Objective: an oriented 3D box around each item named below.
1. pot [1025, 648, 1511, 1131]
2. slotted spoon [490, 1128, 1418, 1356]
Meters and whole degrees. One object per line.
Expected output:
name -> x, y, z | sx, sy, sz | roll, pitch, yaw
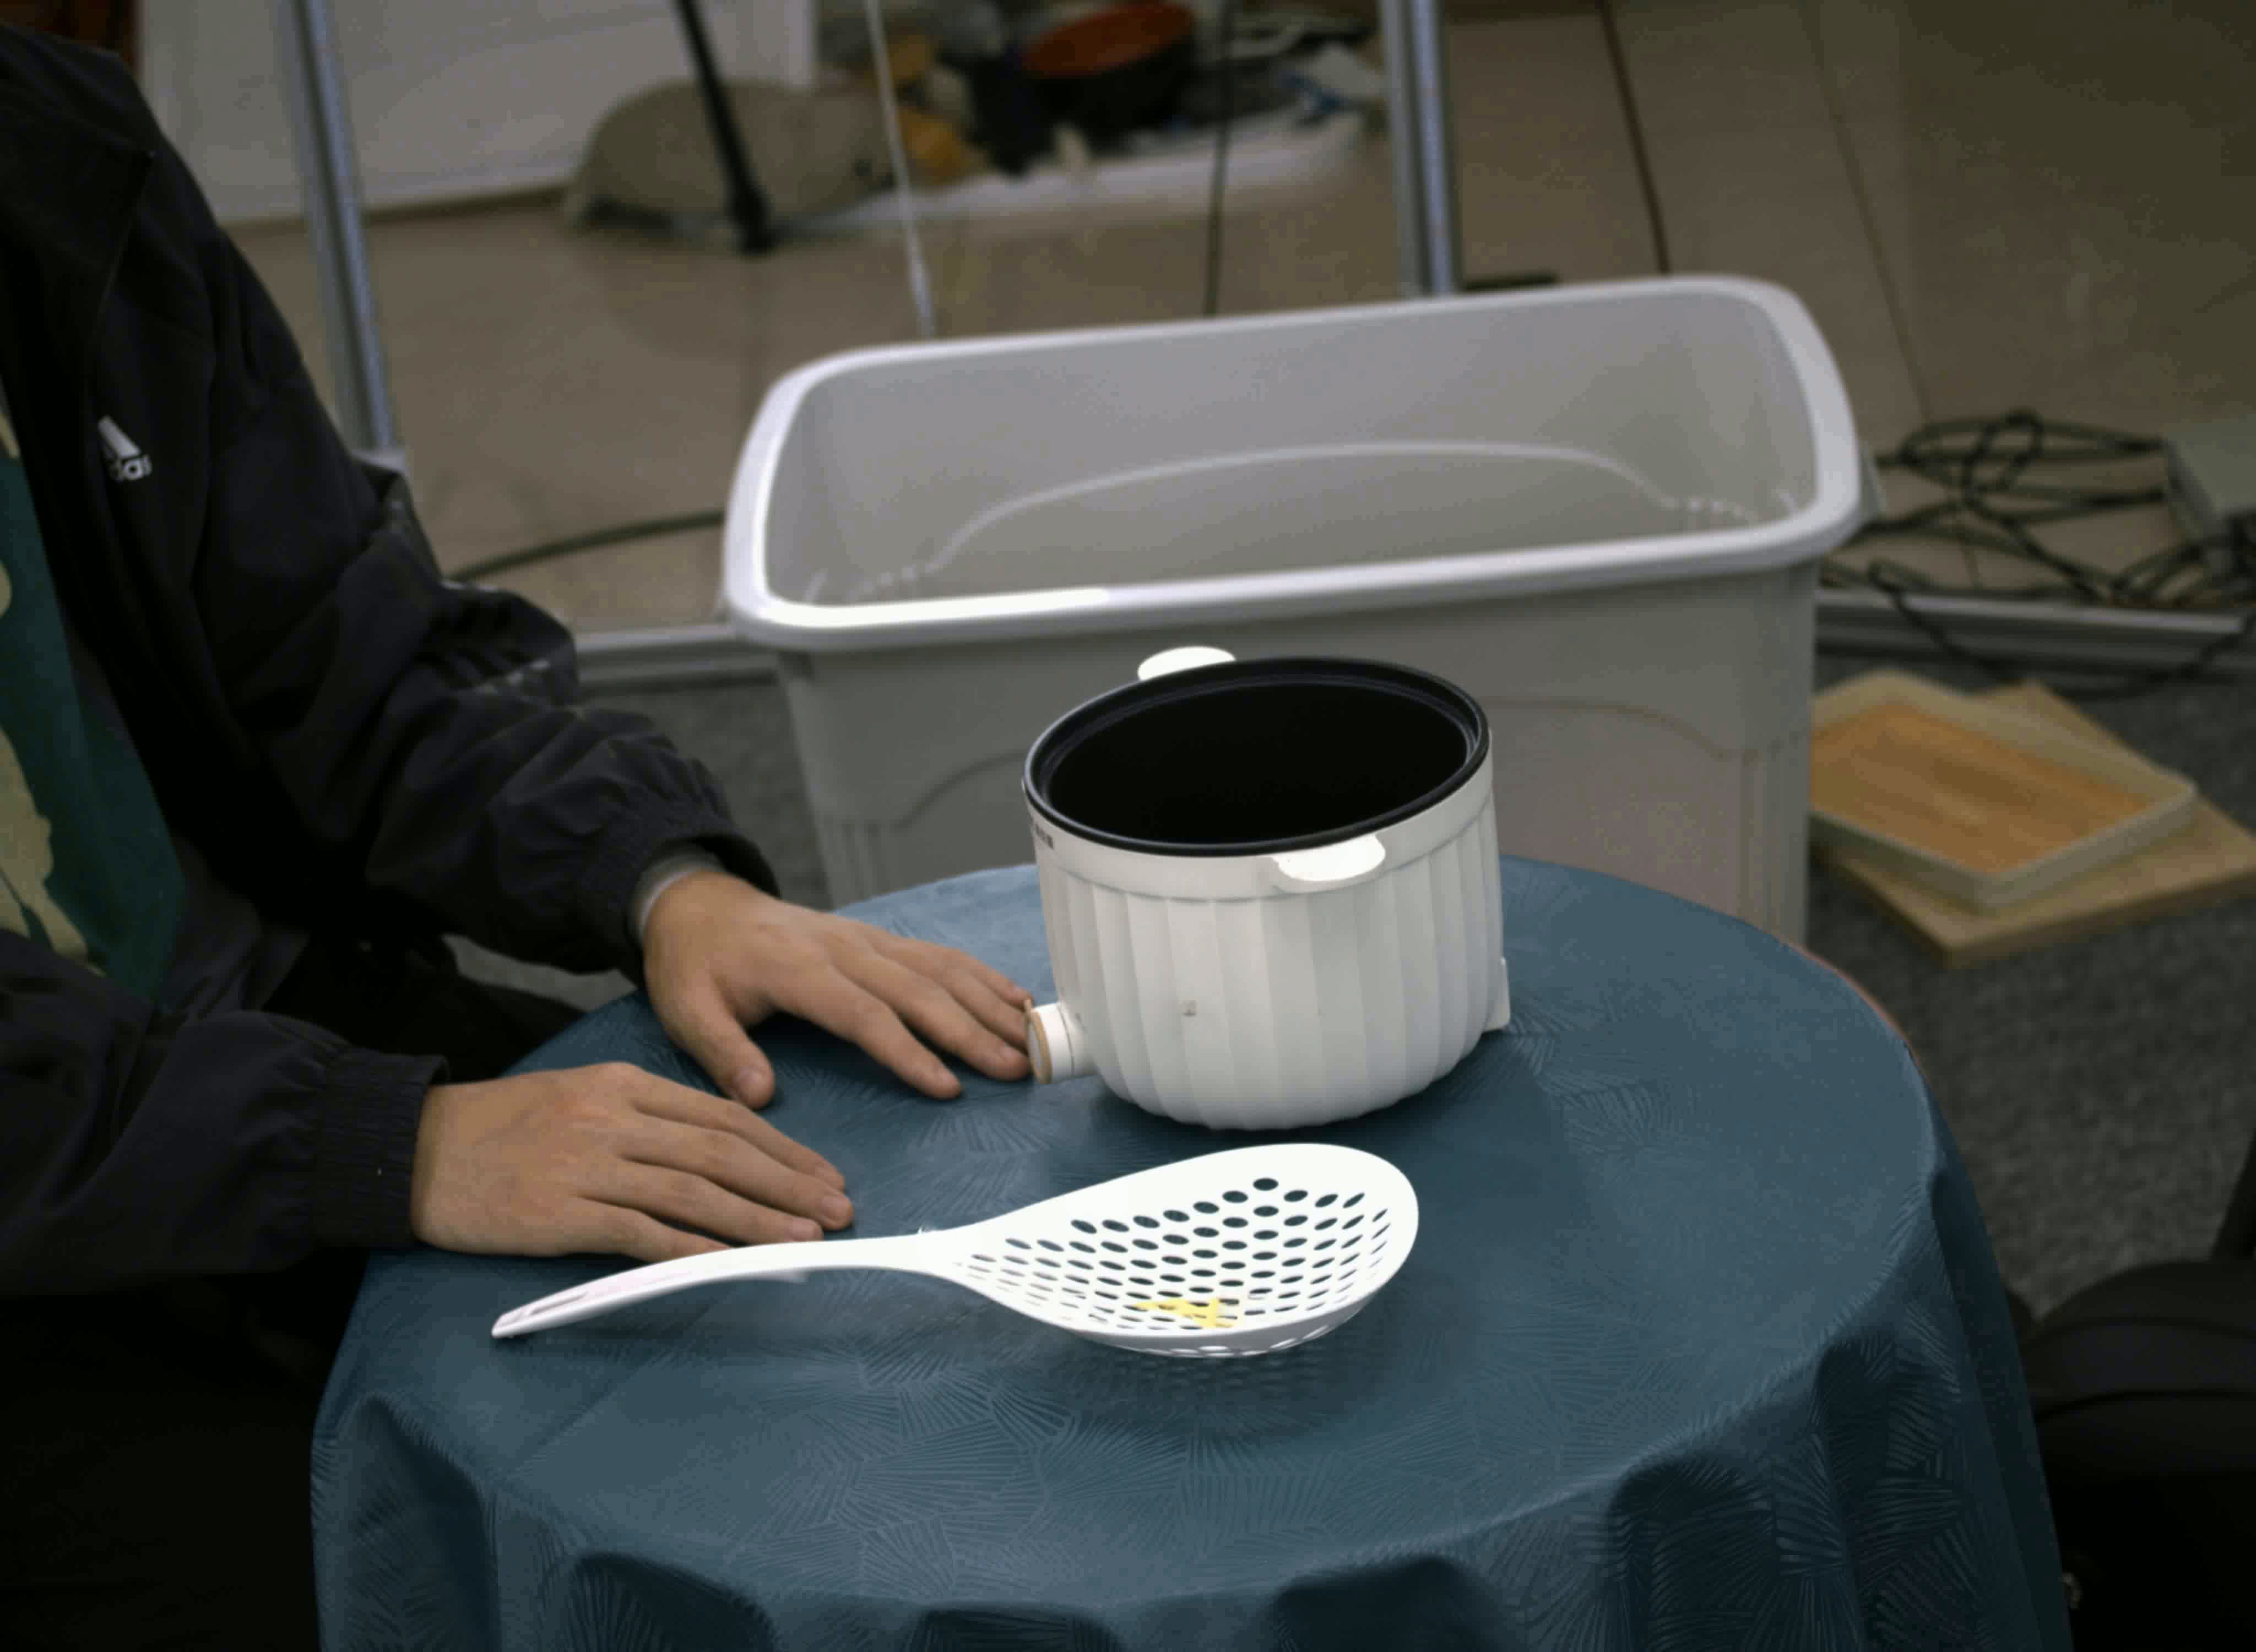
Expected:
pot -> 0.052, 0.032, 2.199 | 0.190, 0.145, 0.237 | -9, 24, -13
slotted spoon -> -0.066, 0.164, 2.058 | 0.347, 0.051, 0.135 | -1, 27, 11
